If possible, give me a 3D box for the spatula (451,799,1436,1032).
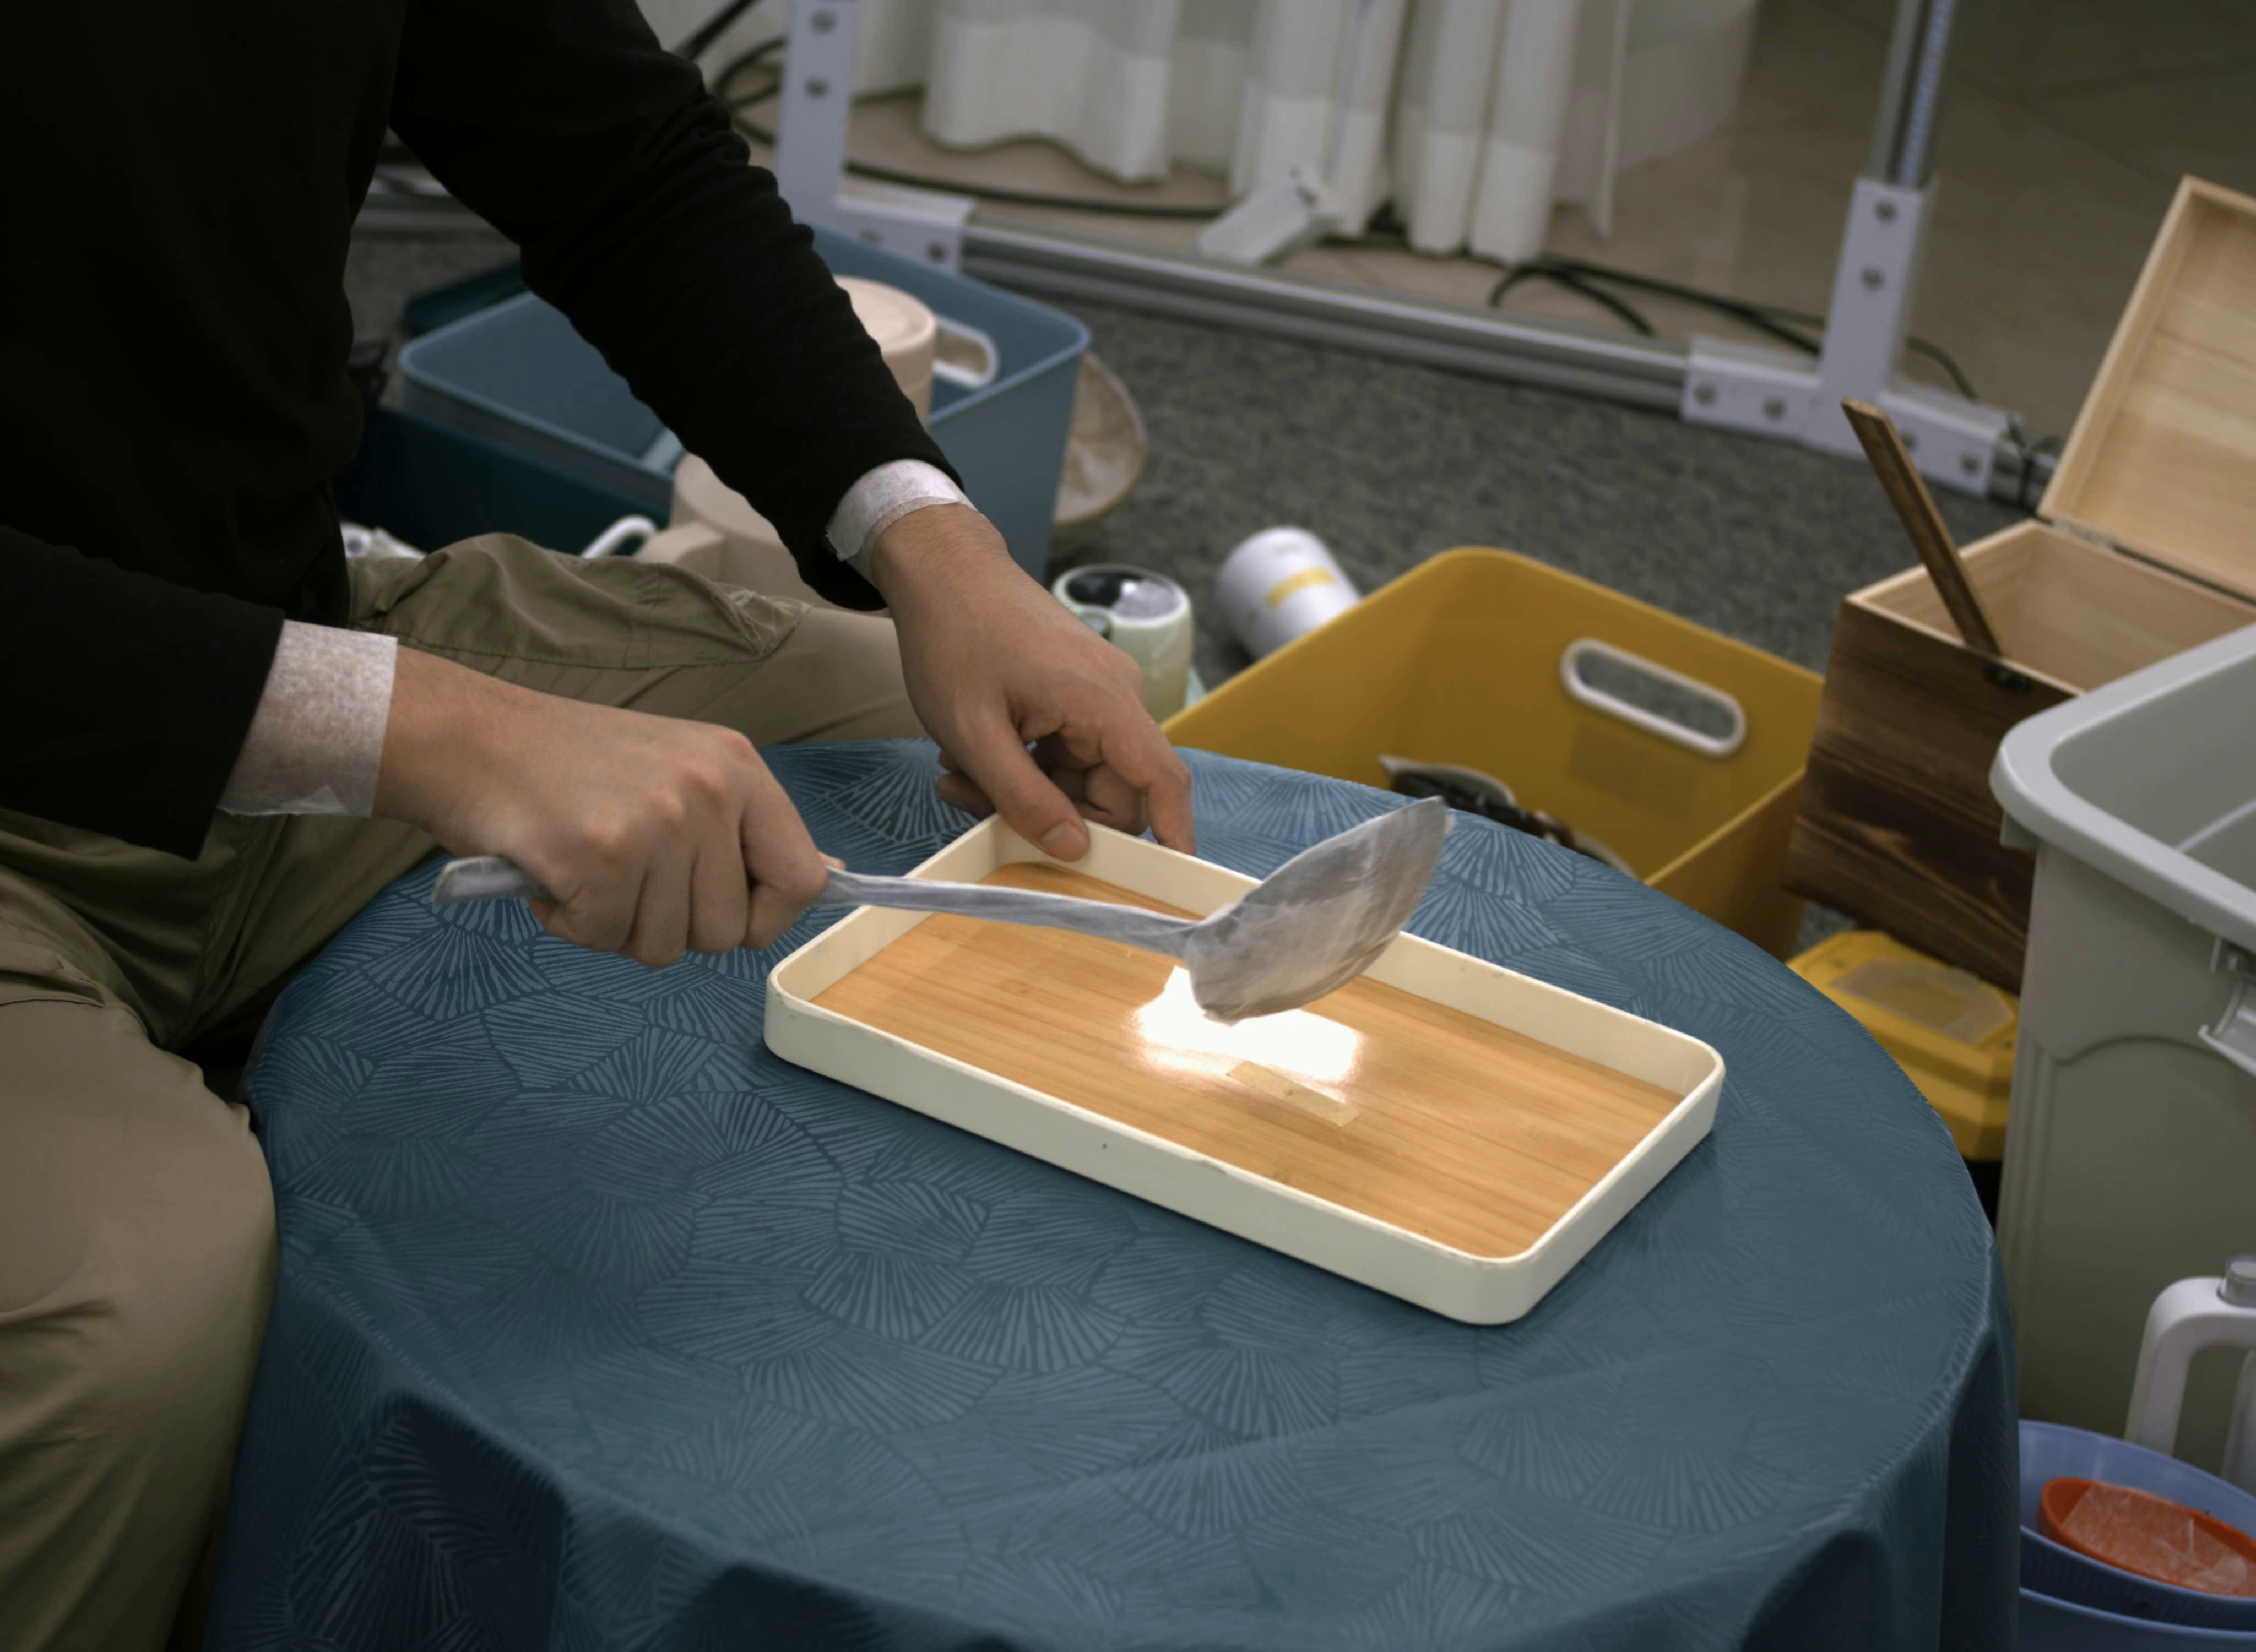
[{"bbox_3d":[-0.056,0.023,1.768,0.362,0.098,0.045,6,39,-27],"label":"spatula"}]

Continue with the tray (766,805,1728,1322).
[{"bbox_3d":[0.042,0.079,1.869,0.301,0.027,0.191,20,30,24],"label":"tray"}]
